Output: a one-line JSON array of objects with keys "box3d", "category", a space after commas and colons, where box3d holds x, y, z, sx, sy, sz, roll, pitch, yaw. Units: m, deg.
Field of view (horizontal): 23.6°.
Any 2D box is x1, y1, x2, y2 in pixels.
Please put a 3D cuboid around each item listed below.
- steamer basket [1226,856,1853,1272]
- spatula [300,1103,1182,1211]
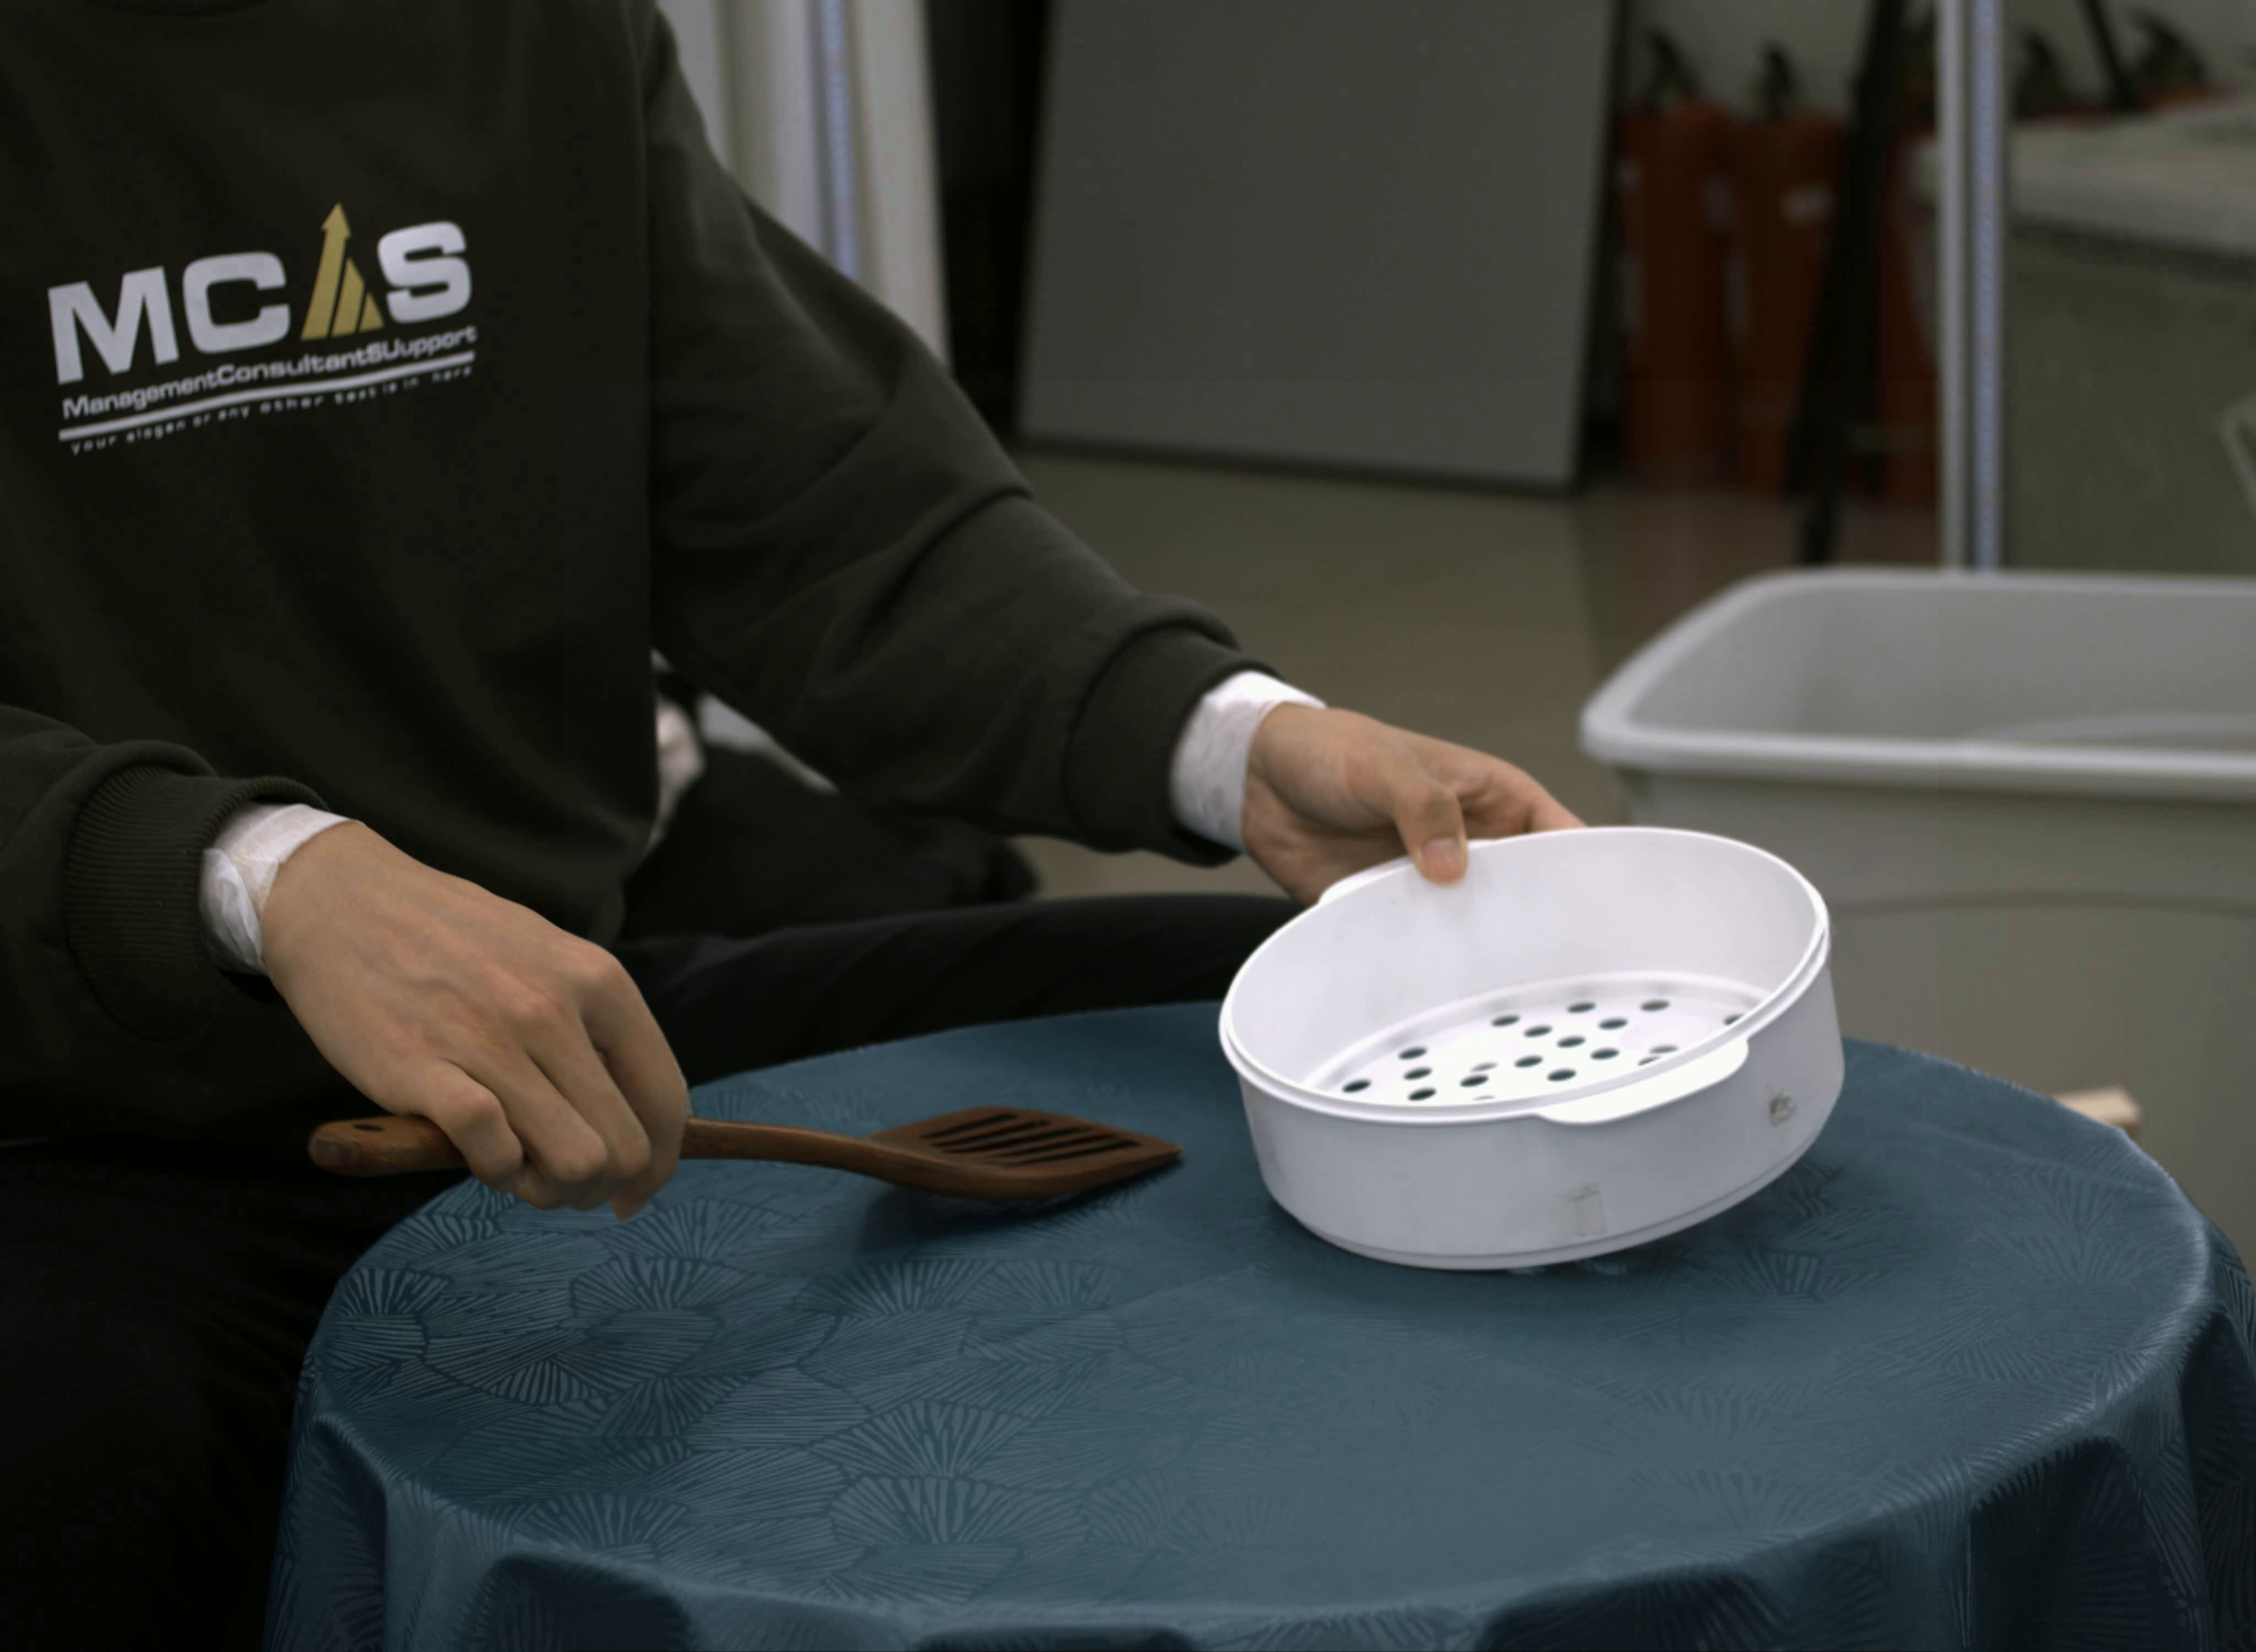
[{"box3d": [0.135, 0.077, 1.729, 0.198, 0.070, 0.232, -17, 19, -13], "category": "steamer basket"}, {"box3d": [-0.118, 0.102, 1.675, 0.086, 0.024, 0.378, 11, 2, 36], "category": "spatula"}]
